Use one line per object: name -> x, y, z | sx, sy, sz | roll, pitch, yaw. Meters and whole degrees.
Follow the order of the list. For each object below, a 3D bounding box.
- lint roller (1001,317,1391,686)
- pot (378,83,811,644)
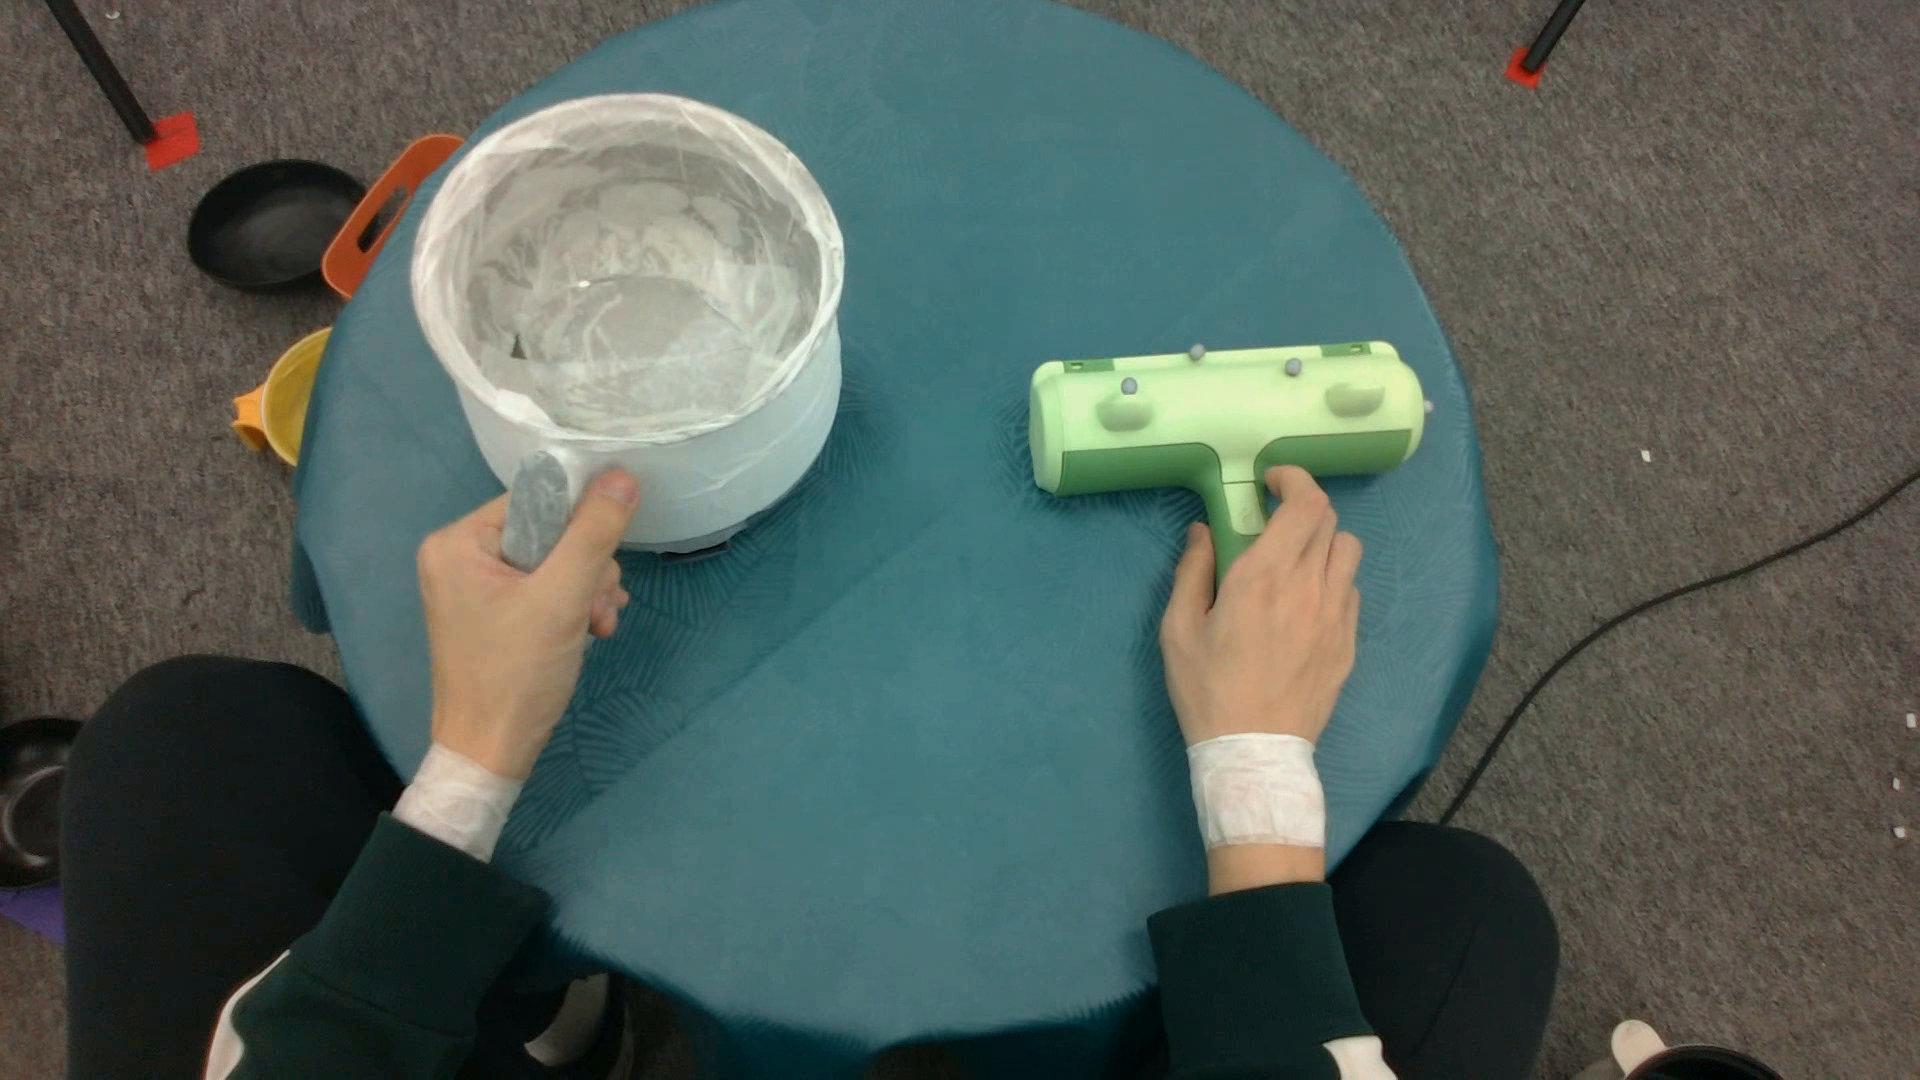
lint roller -> 0.129, -0.026, 0.674 | 0.199, 0.082, 0.184 | -6, 64, -9
pot -> -0.164, -0.073, 0.625 | 0.179, 0.136, 0.234 | 13, 65, 1
